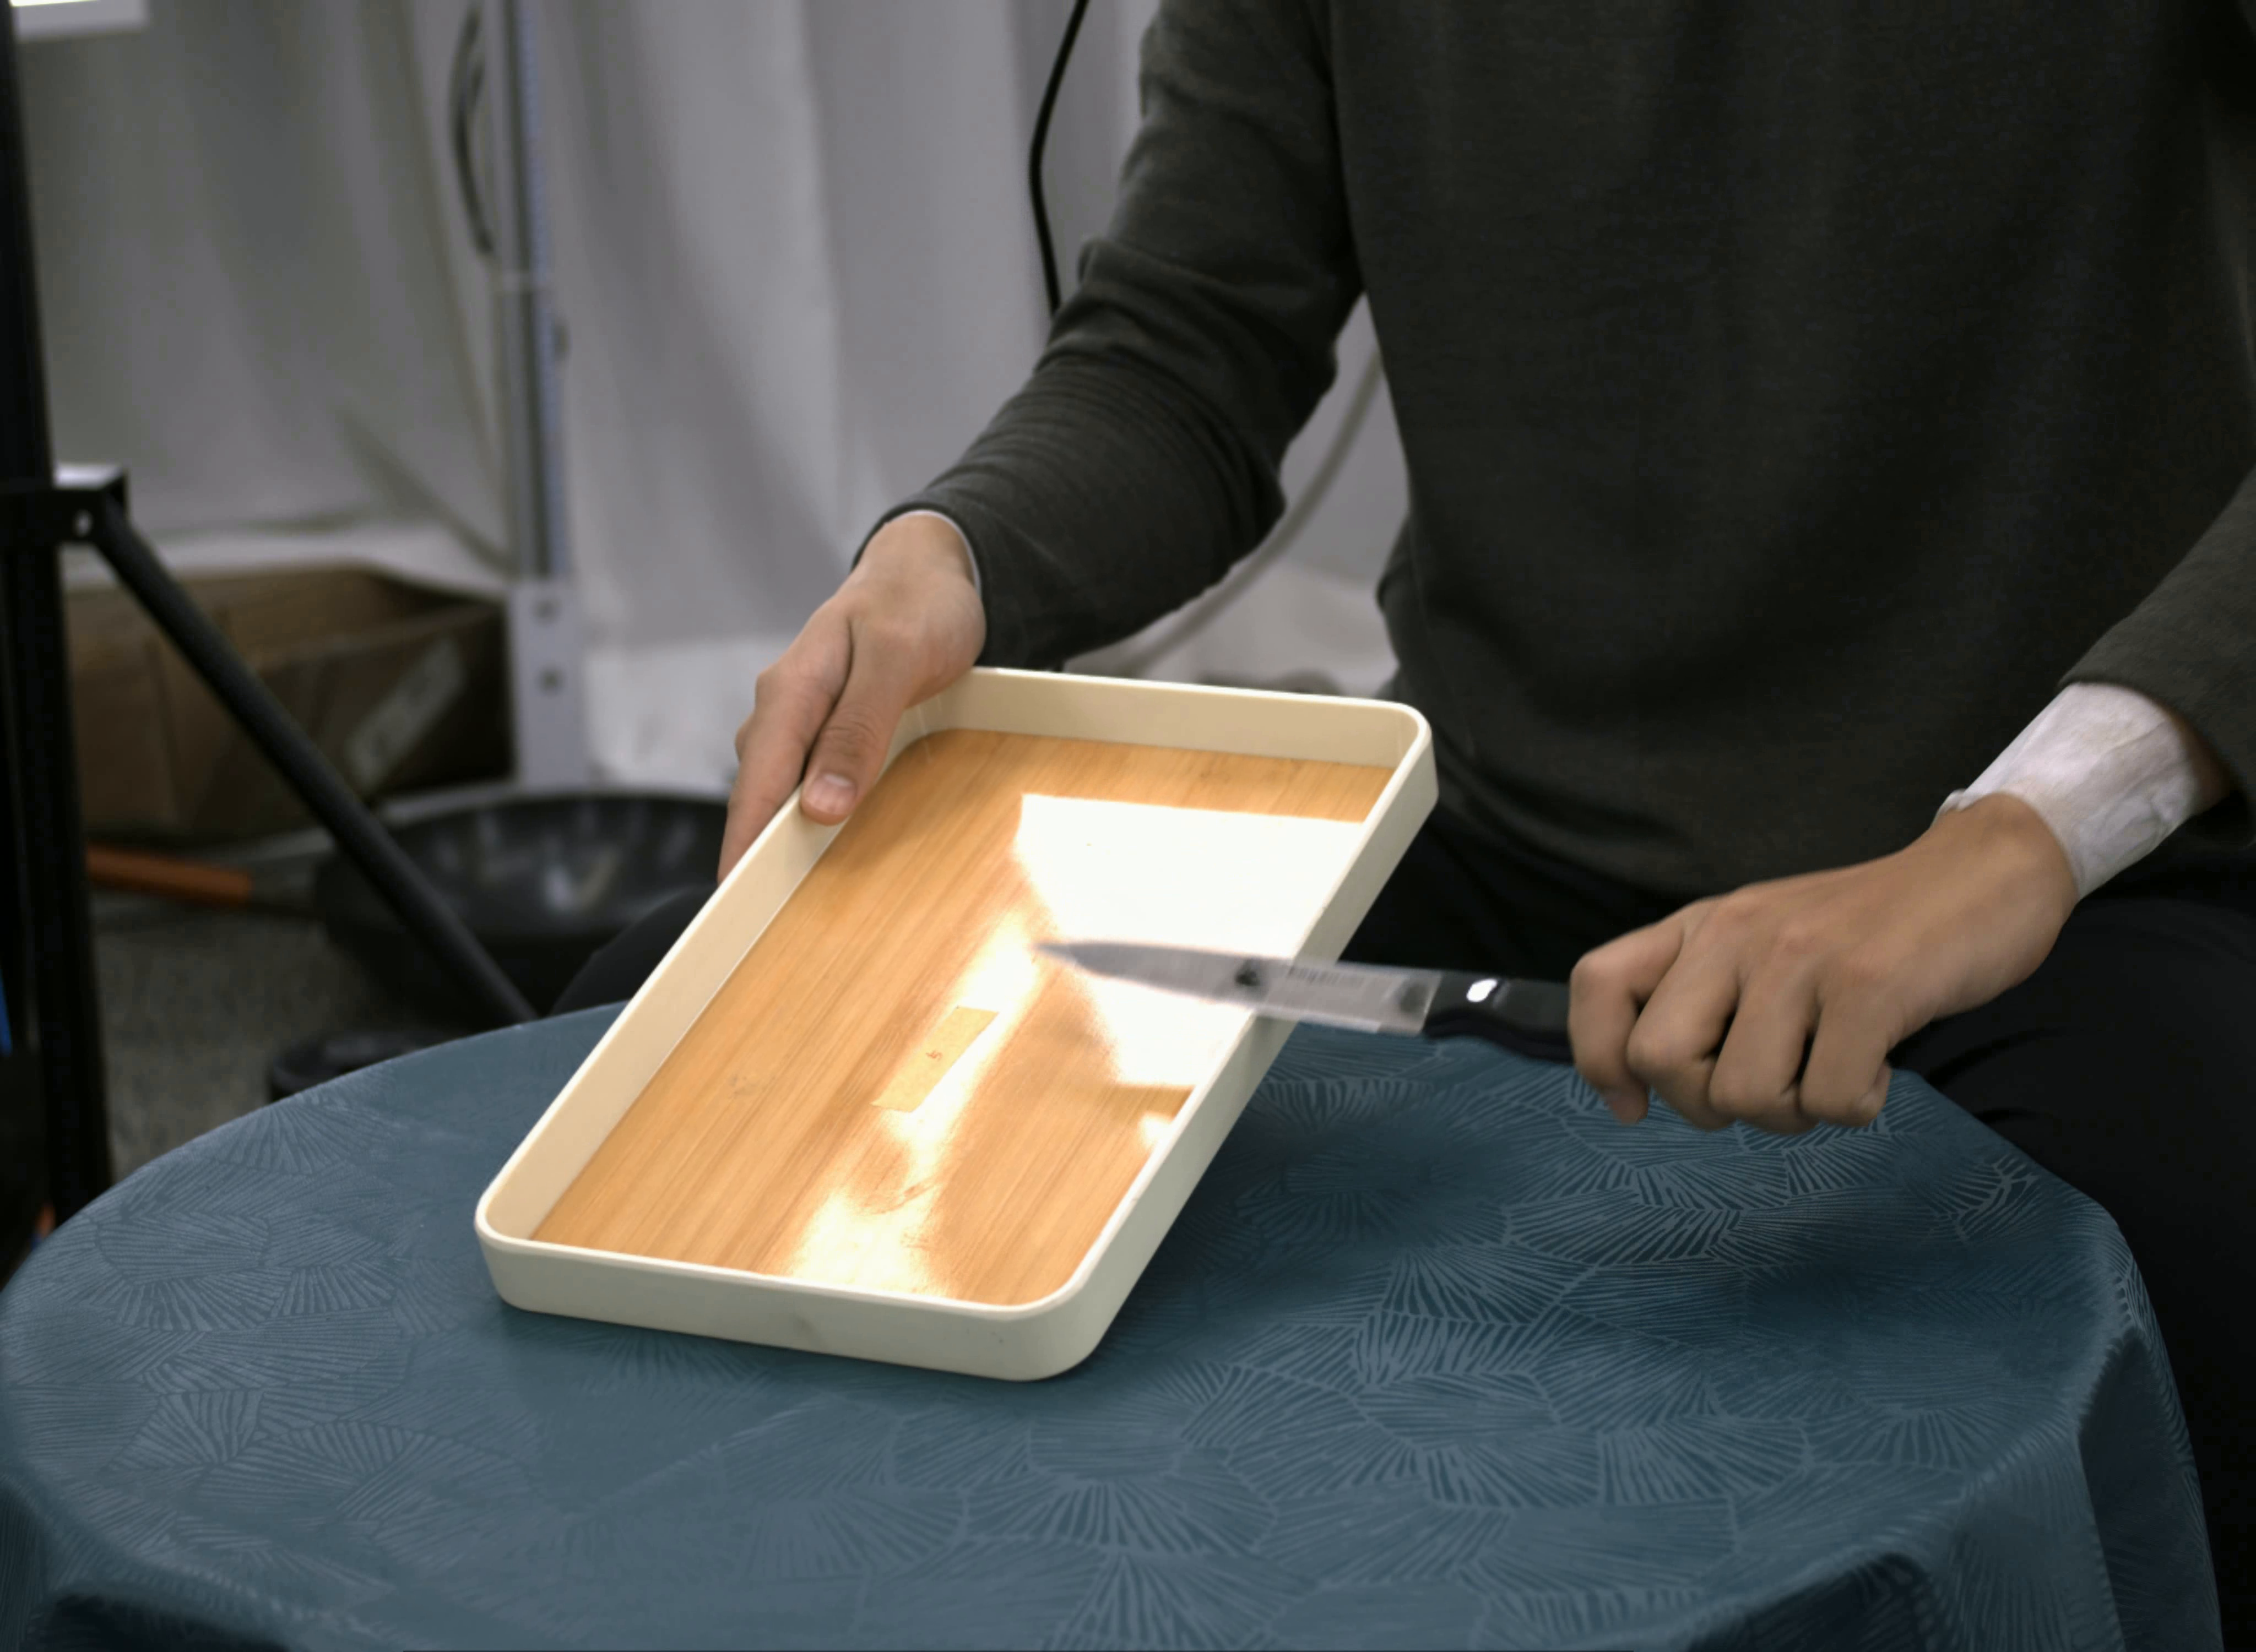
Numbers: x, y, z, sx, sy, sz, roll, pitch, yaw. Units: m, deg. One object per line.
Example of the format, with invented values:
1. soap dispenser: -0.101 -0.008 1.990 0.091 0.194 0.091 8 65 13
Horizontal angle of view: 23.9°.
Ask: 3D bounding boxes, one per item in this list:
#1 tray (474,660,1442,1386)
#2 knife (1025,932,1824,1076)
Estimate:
1. tray: -0.043 0.049 1.556 0.194 0.027 0.298 6 37 26
2. knife: 0.082 0.046 1.496 0.241 0.016 0.024 7 44 23
